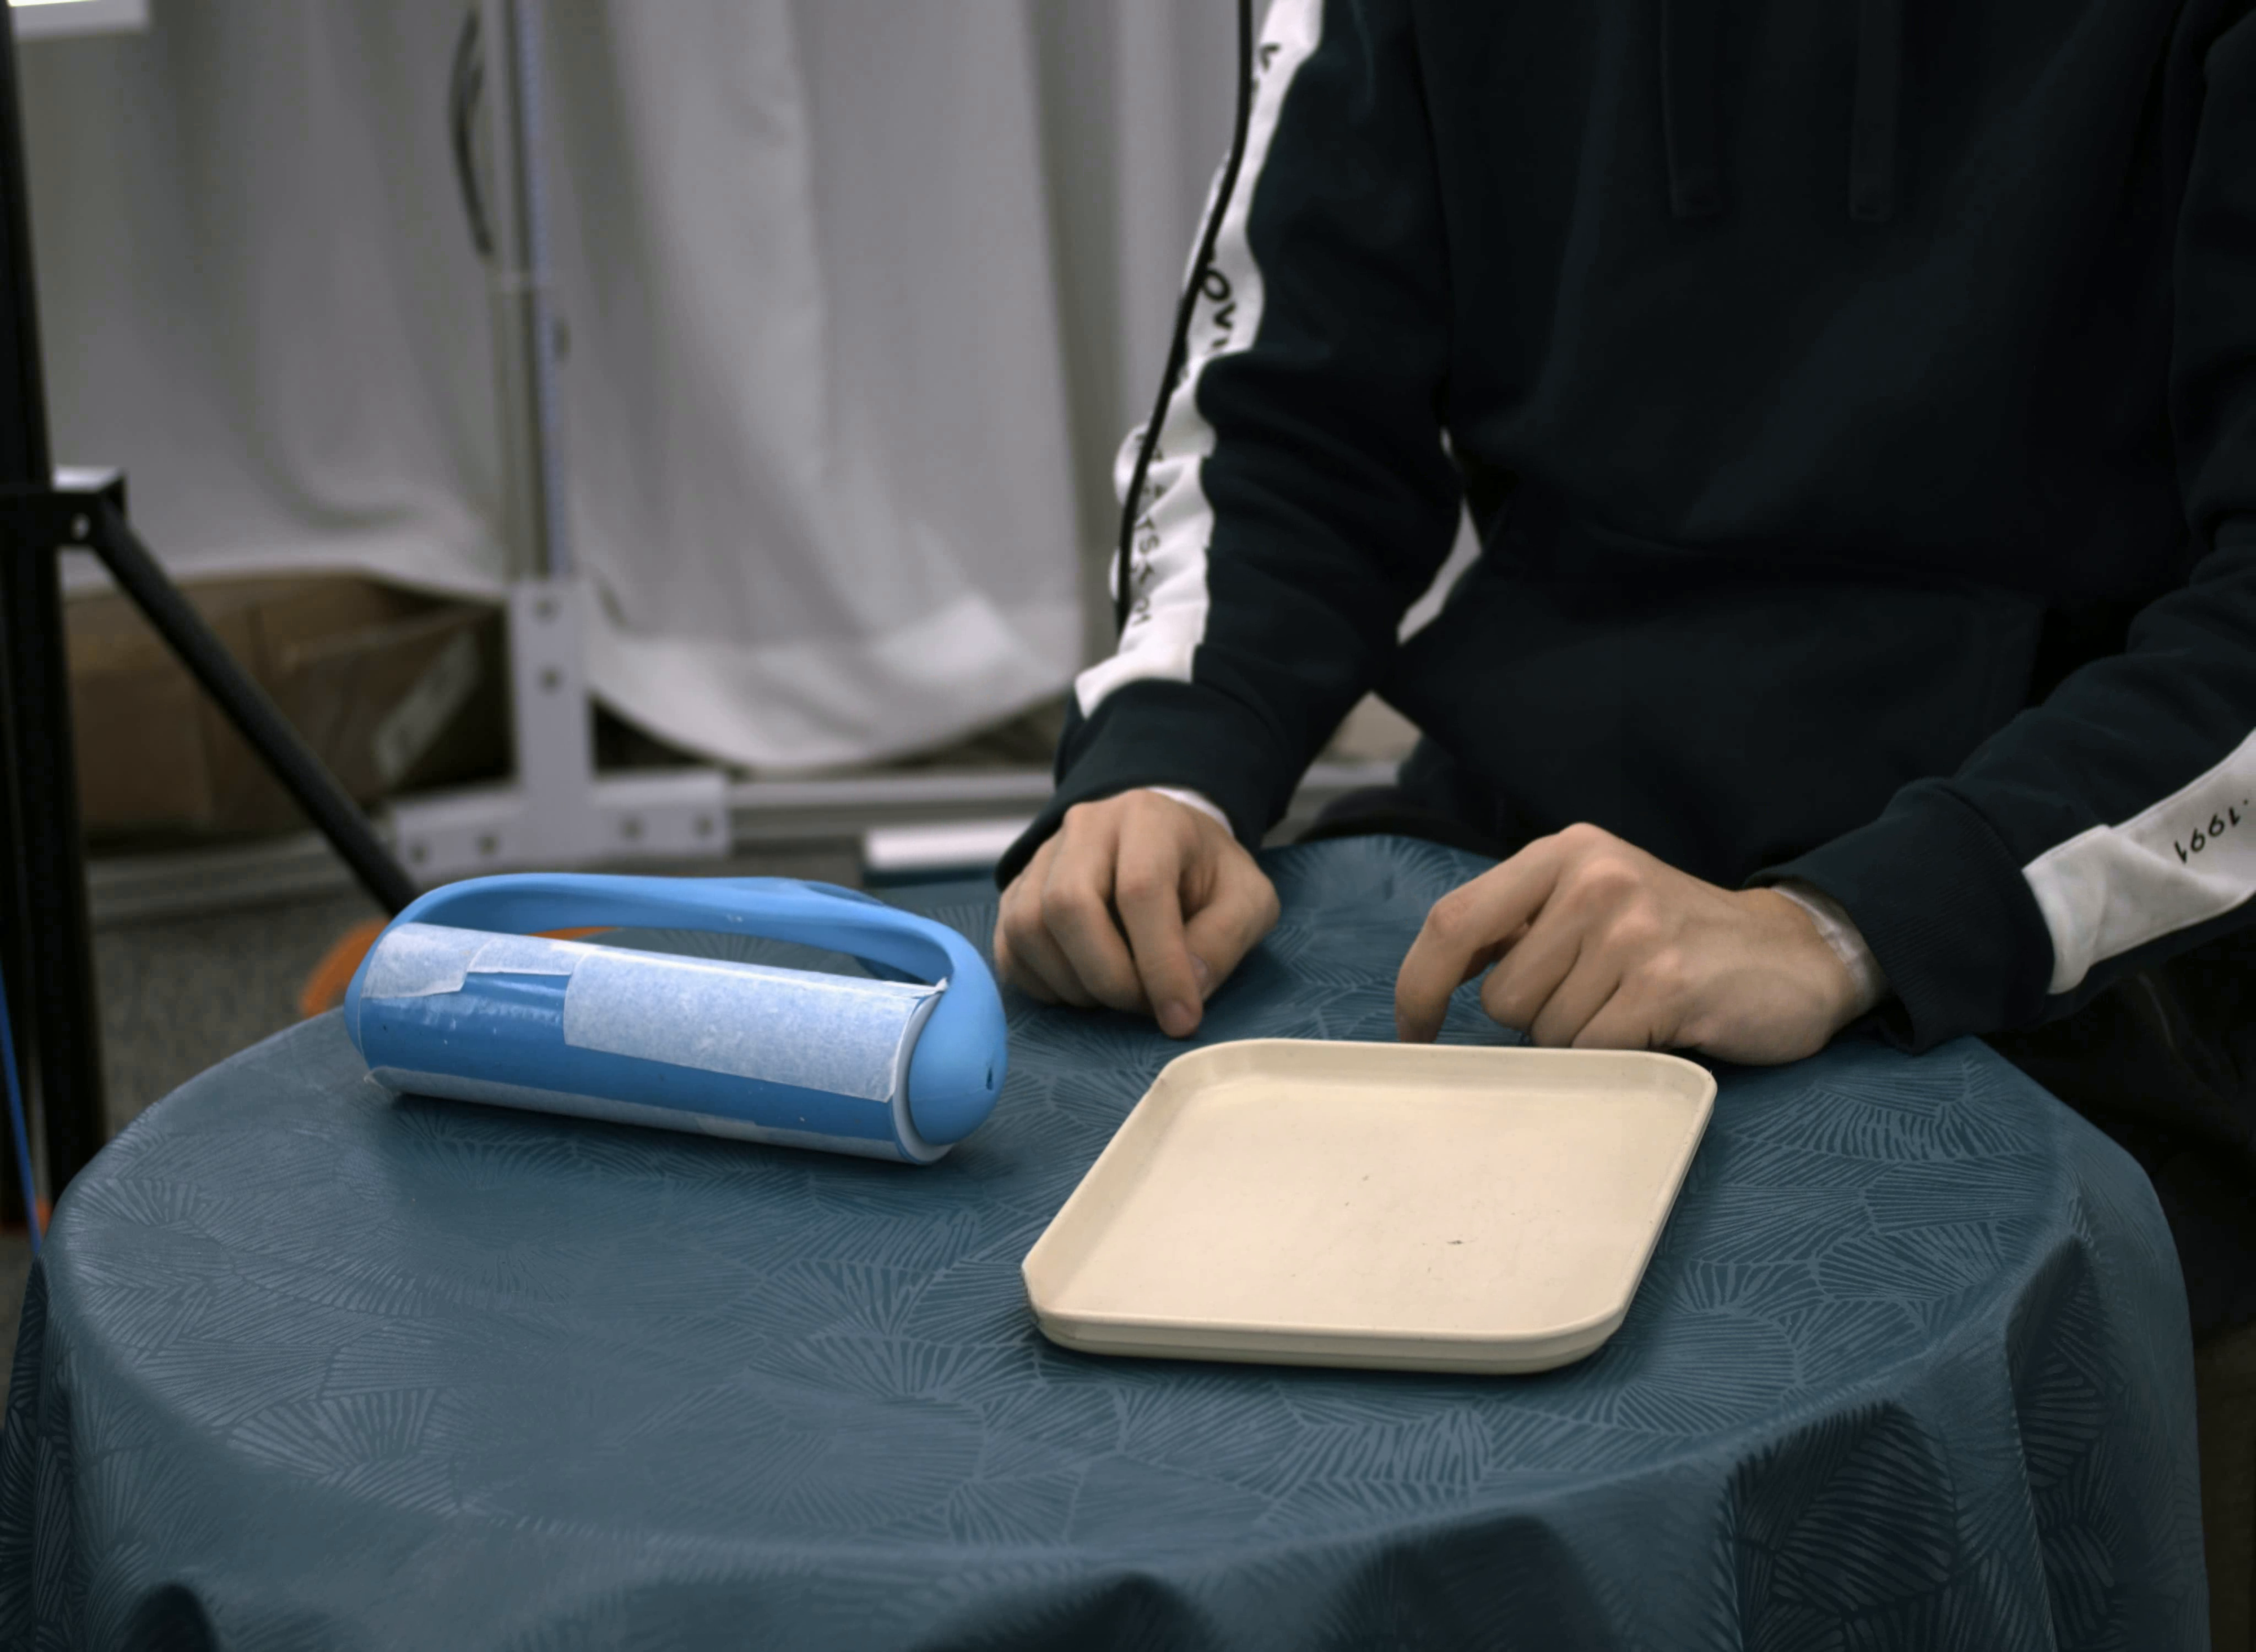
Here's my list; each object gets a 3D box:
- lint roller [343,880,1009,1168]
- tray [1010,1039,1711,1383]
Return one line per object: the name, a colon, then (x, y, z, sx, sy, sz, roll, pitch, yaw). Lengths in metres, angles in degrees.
lint roller: (-0.117, 0.049, 1.681, 0.232, 0.068, 0.177, 4, 18, 26)
tray: (0.071, 0.108, 1.512, 0.172, 0.017, 0.238, 2, 16, 15)
